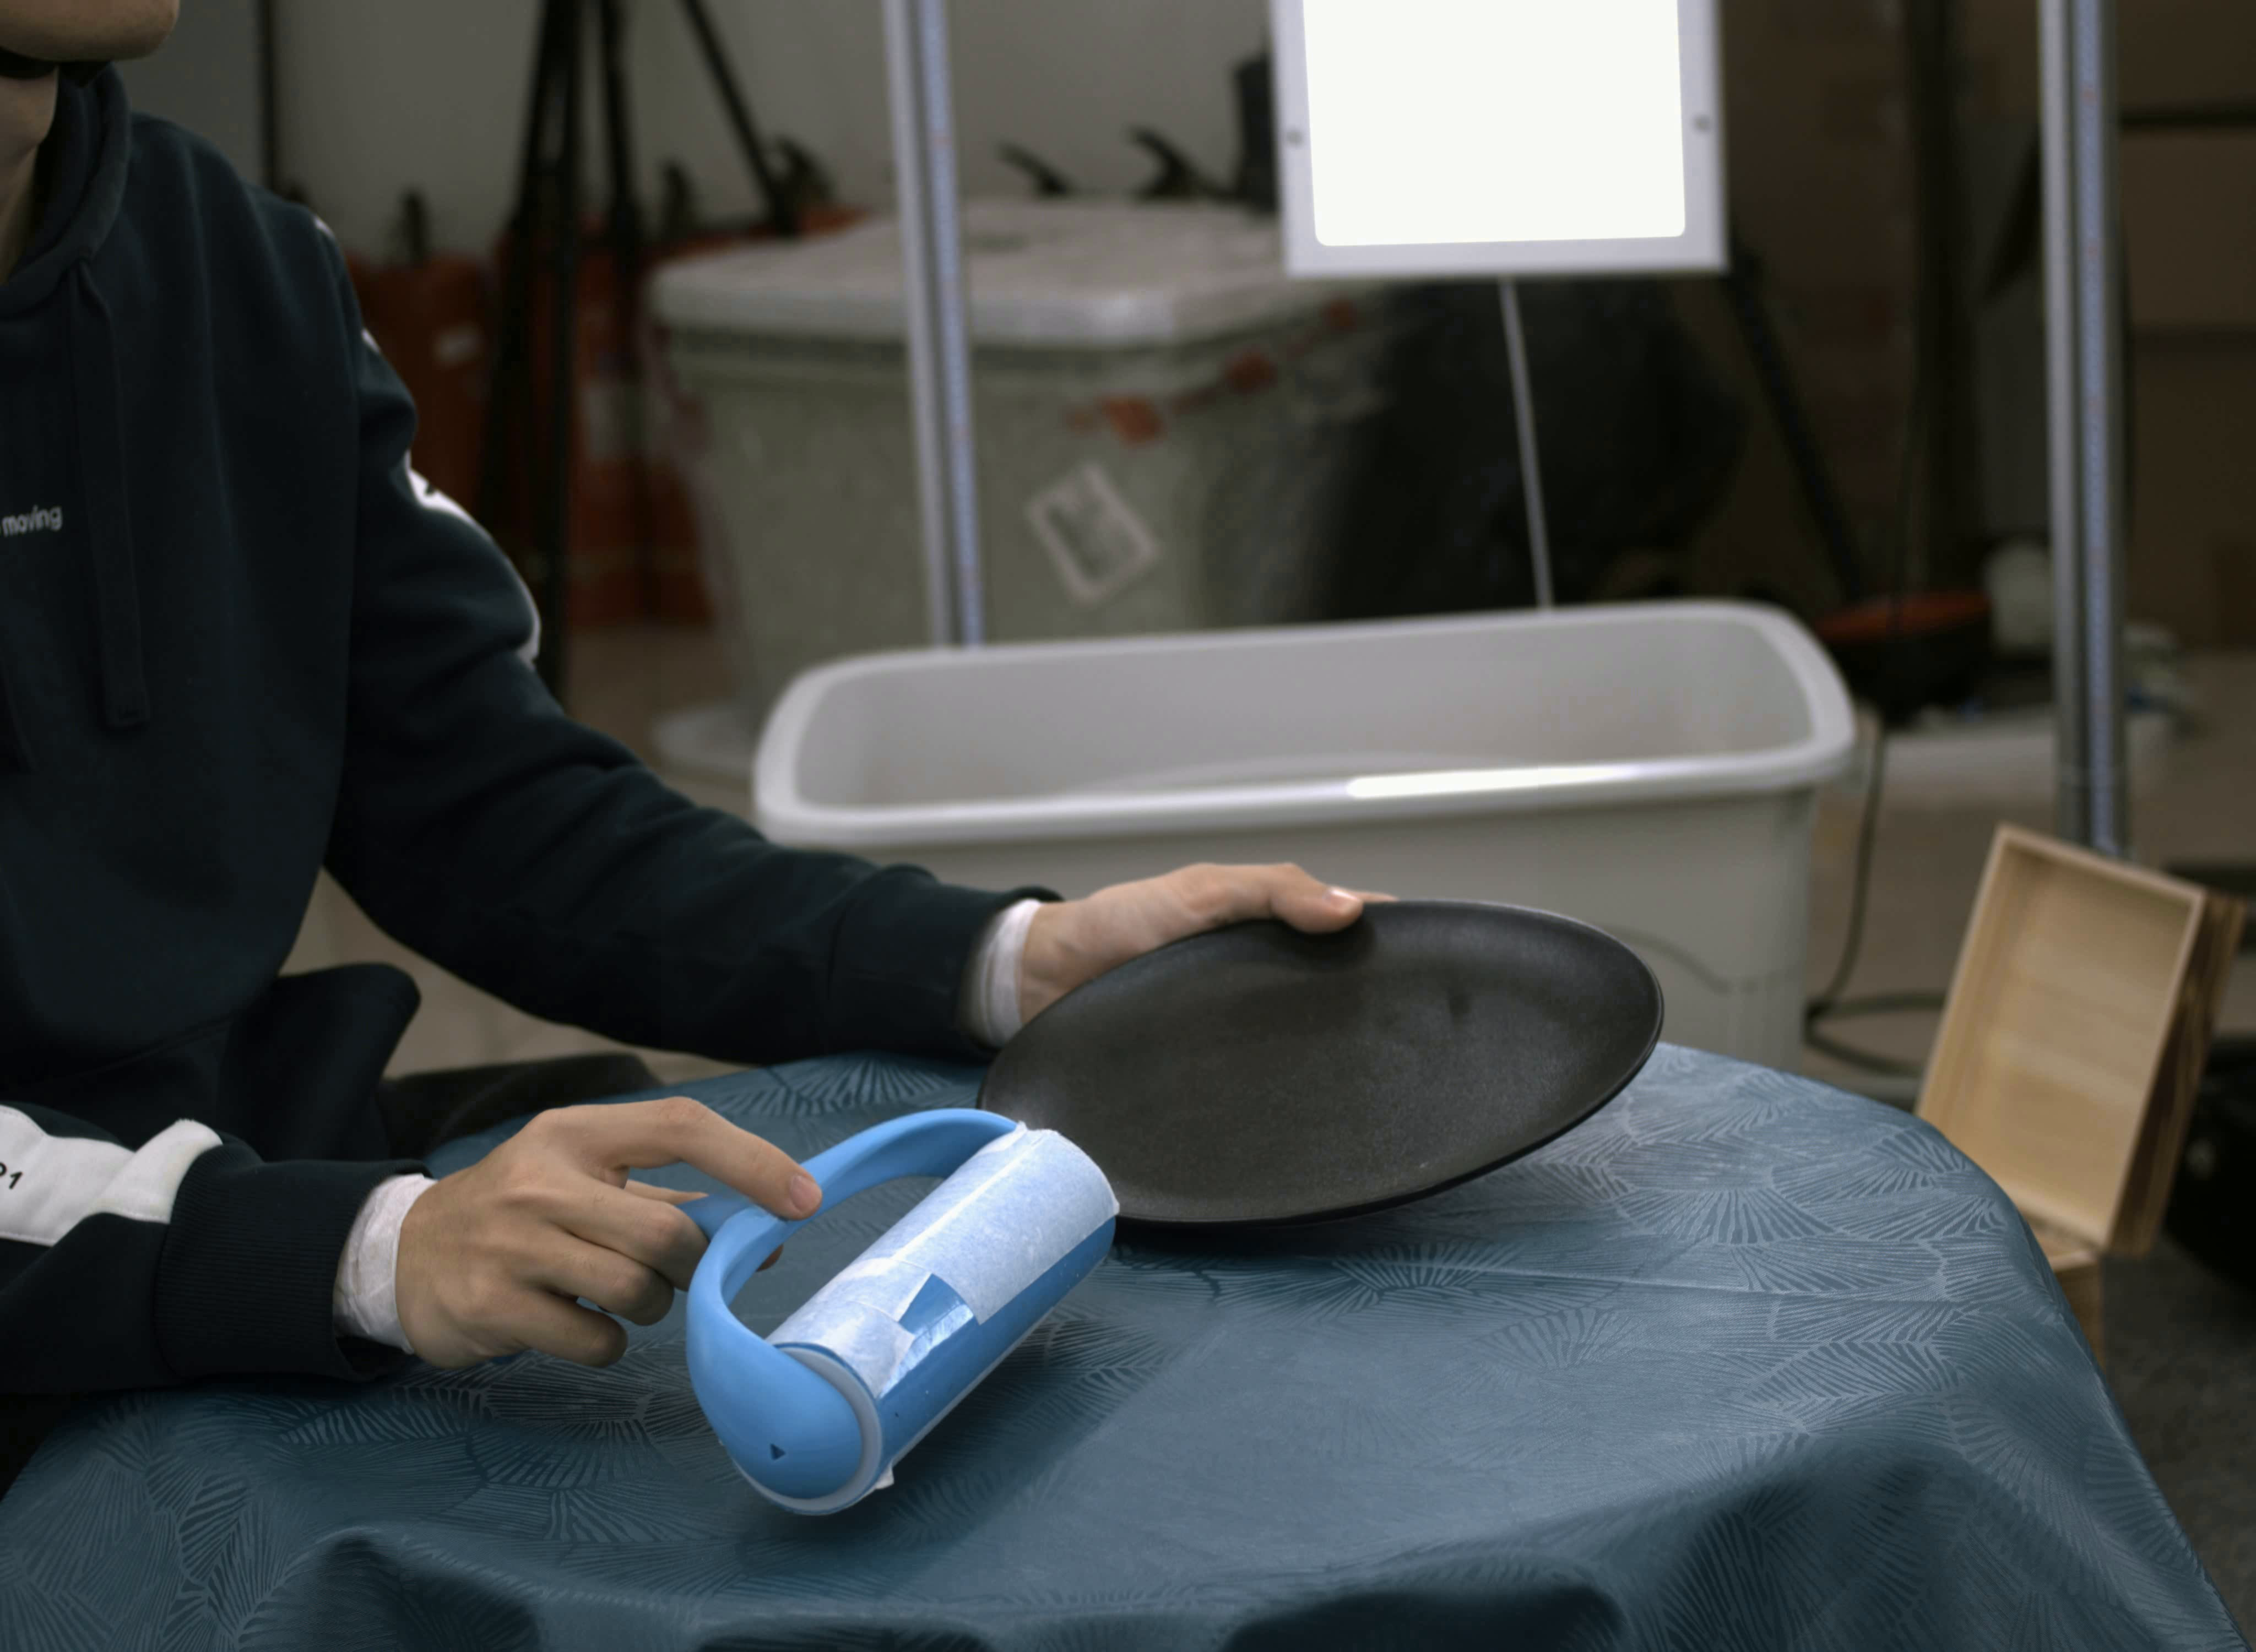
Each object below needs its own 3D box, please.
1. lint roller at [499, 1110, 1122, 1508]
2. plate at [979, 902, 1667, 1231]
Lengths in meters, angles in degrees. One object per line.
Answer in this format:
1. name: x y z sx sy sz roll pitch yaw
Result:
1. lint roller: -0.115 0.146 1.698 0.182 0.068 0.225 0 17 19
2. plate: 0.069 0.087 1.909 0.244 0.023 0.244 -12 22 3
